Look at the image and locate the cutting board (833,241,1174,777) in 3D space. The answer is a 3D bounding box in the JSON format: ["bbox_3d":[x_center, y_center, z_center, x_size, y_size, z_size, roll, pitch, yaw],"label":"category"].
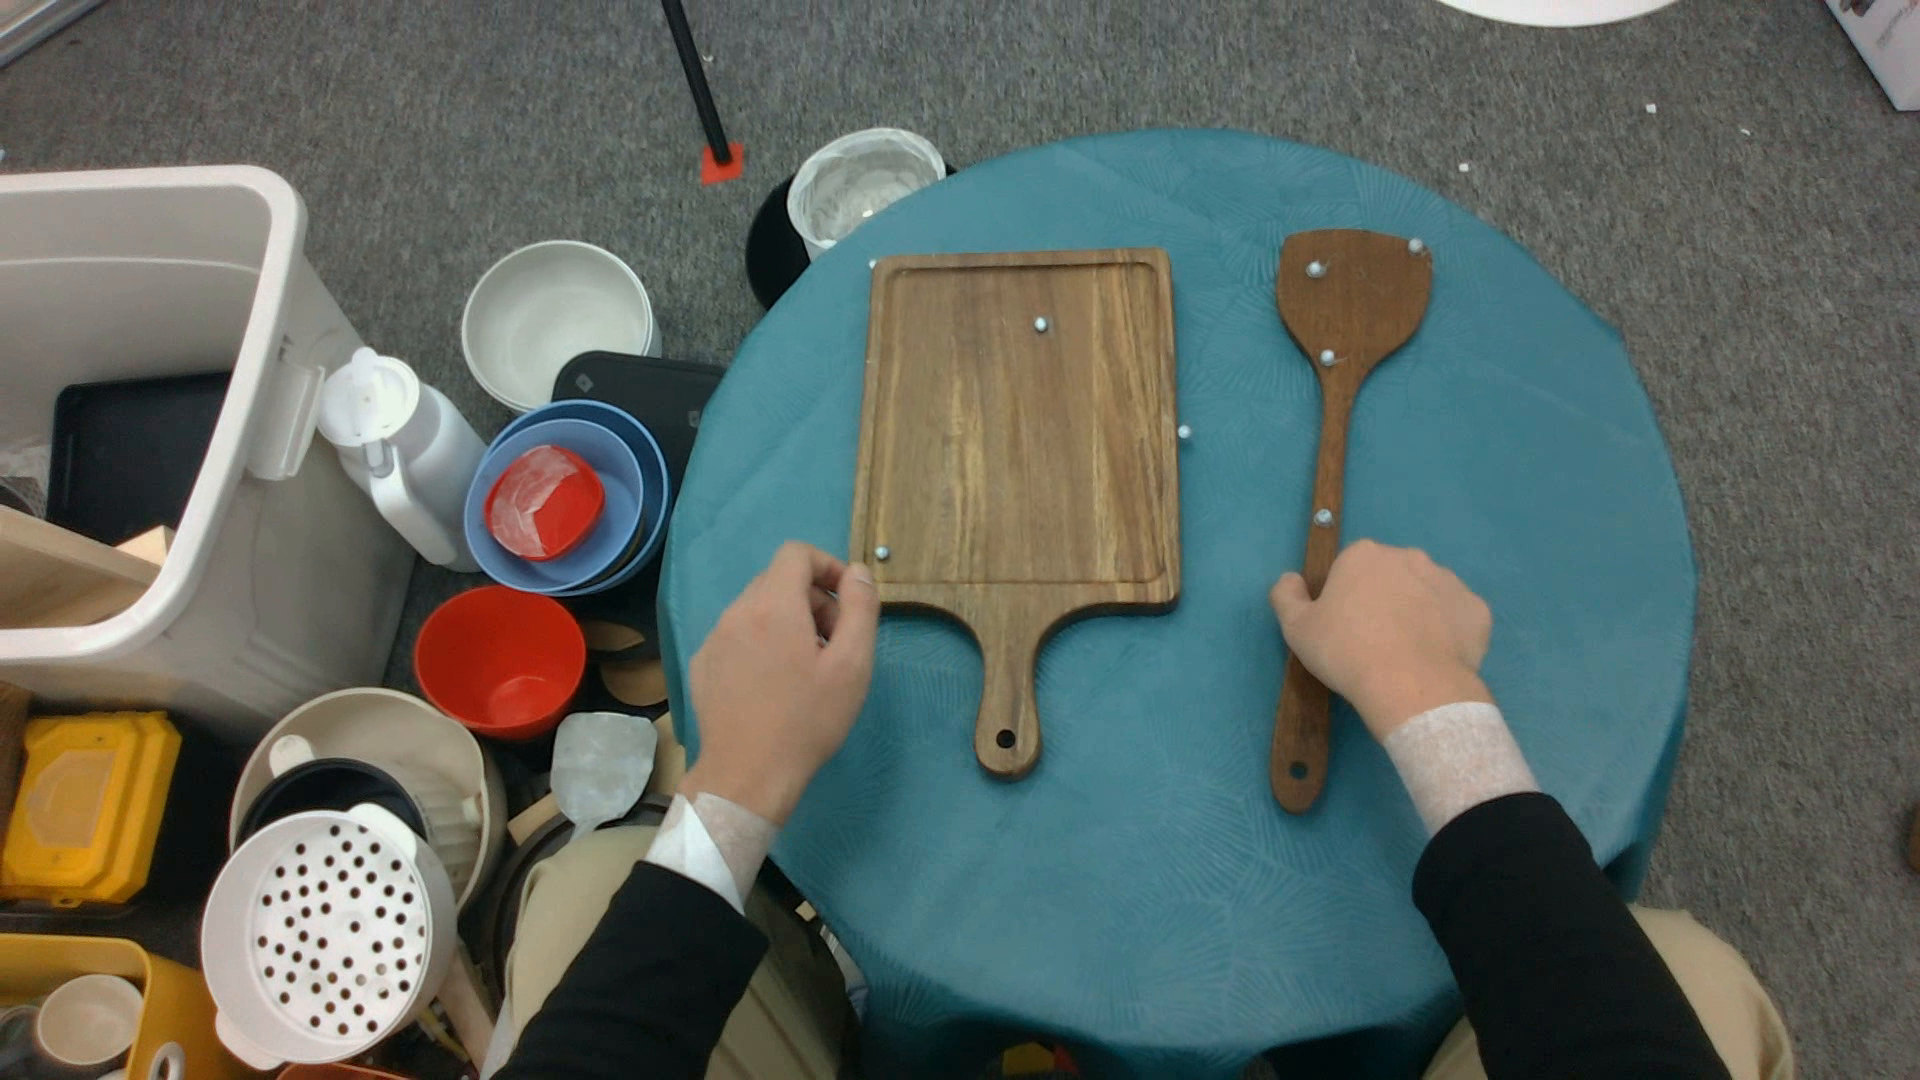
[{"bbox_3d":[0.025,-0.031,0.828,0.201,0.023,0.353,-1,64,6],"label":"cutting board"}]

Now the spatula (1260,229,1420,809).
[{"bbox_3d":[0.211,-0.030,0.810,0.096,0.016,0.387,8,64,10],"label":"spatula"}]
